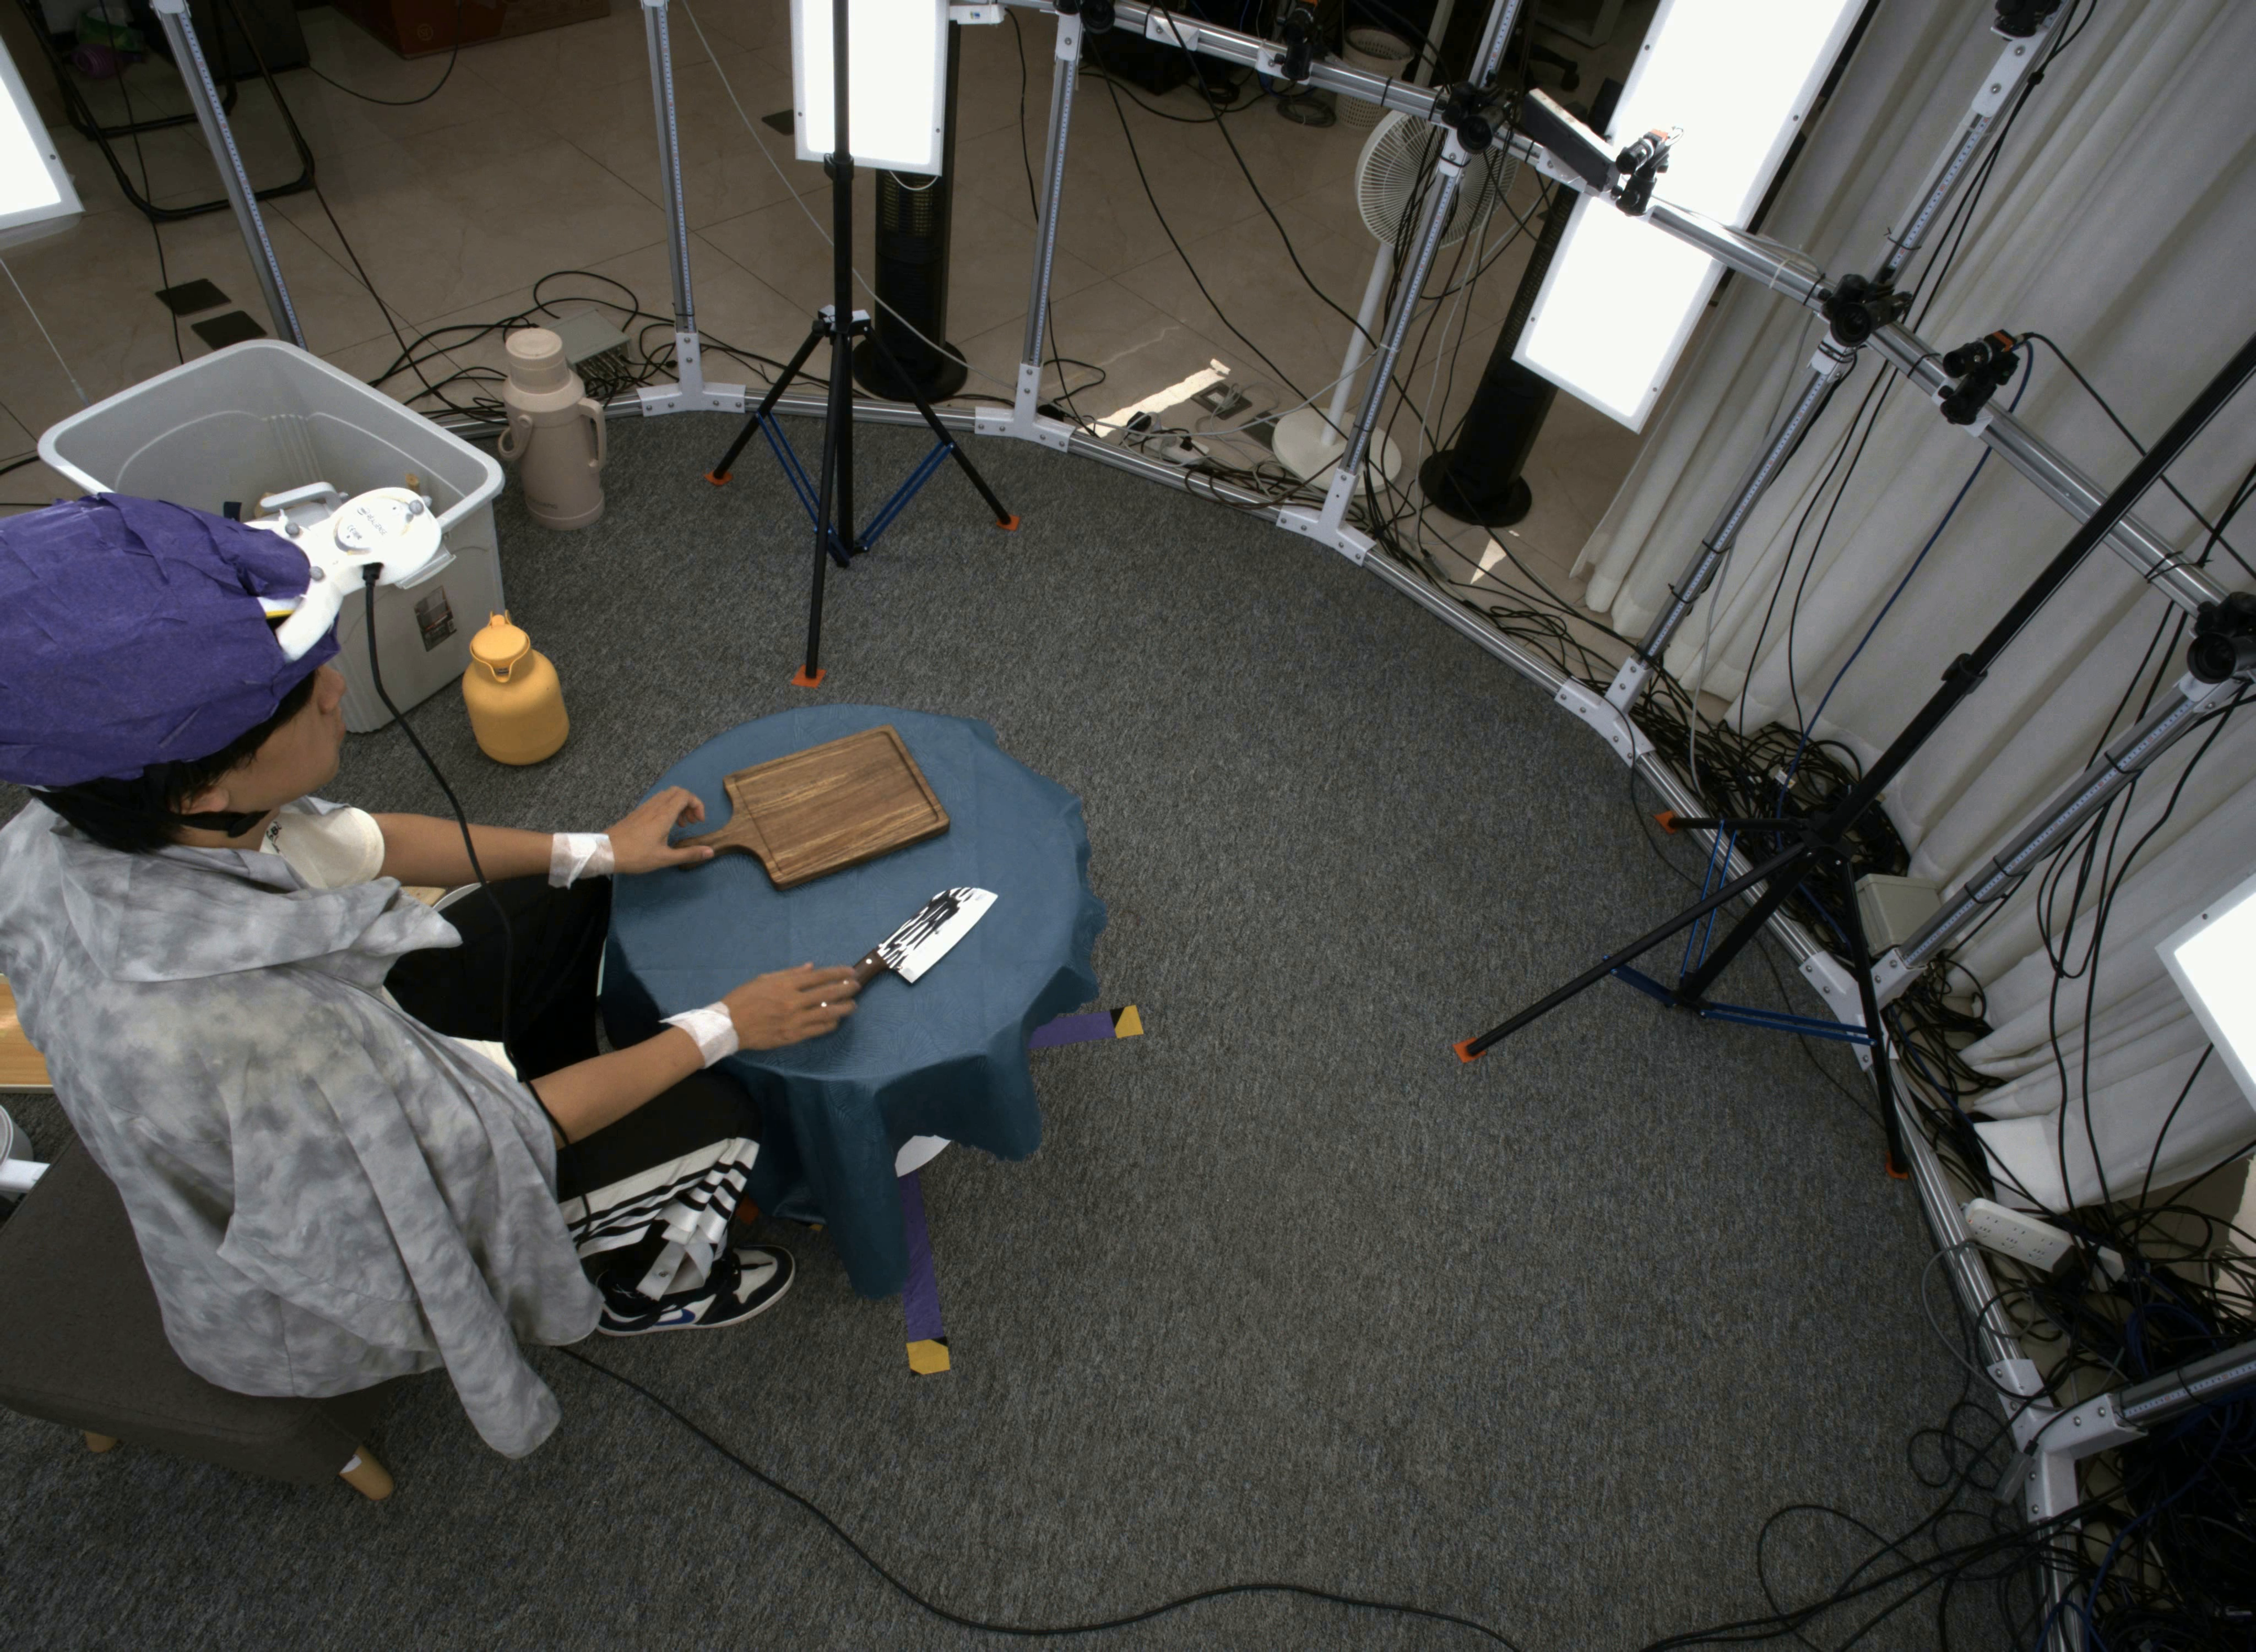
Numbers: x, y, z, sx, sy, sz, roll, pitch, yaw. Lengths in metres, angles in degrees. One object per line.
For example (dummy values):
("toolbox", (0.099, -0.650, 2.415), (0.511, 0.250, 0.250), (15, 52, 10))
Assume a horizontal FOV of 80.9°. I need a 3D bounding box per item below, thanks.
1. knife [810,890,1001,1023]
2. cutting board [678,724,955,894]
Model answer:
("knife", (-0.272, 0.160, 1.632), (0.067, 0.024, 0.299), (38, 52, 13))
("cutting board", (-0.427, -0.014, 1.722), (0.354, 0.024, 0.196), (-22, 61, -26))
